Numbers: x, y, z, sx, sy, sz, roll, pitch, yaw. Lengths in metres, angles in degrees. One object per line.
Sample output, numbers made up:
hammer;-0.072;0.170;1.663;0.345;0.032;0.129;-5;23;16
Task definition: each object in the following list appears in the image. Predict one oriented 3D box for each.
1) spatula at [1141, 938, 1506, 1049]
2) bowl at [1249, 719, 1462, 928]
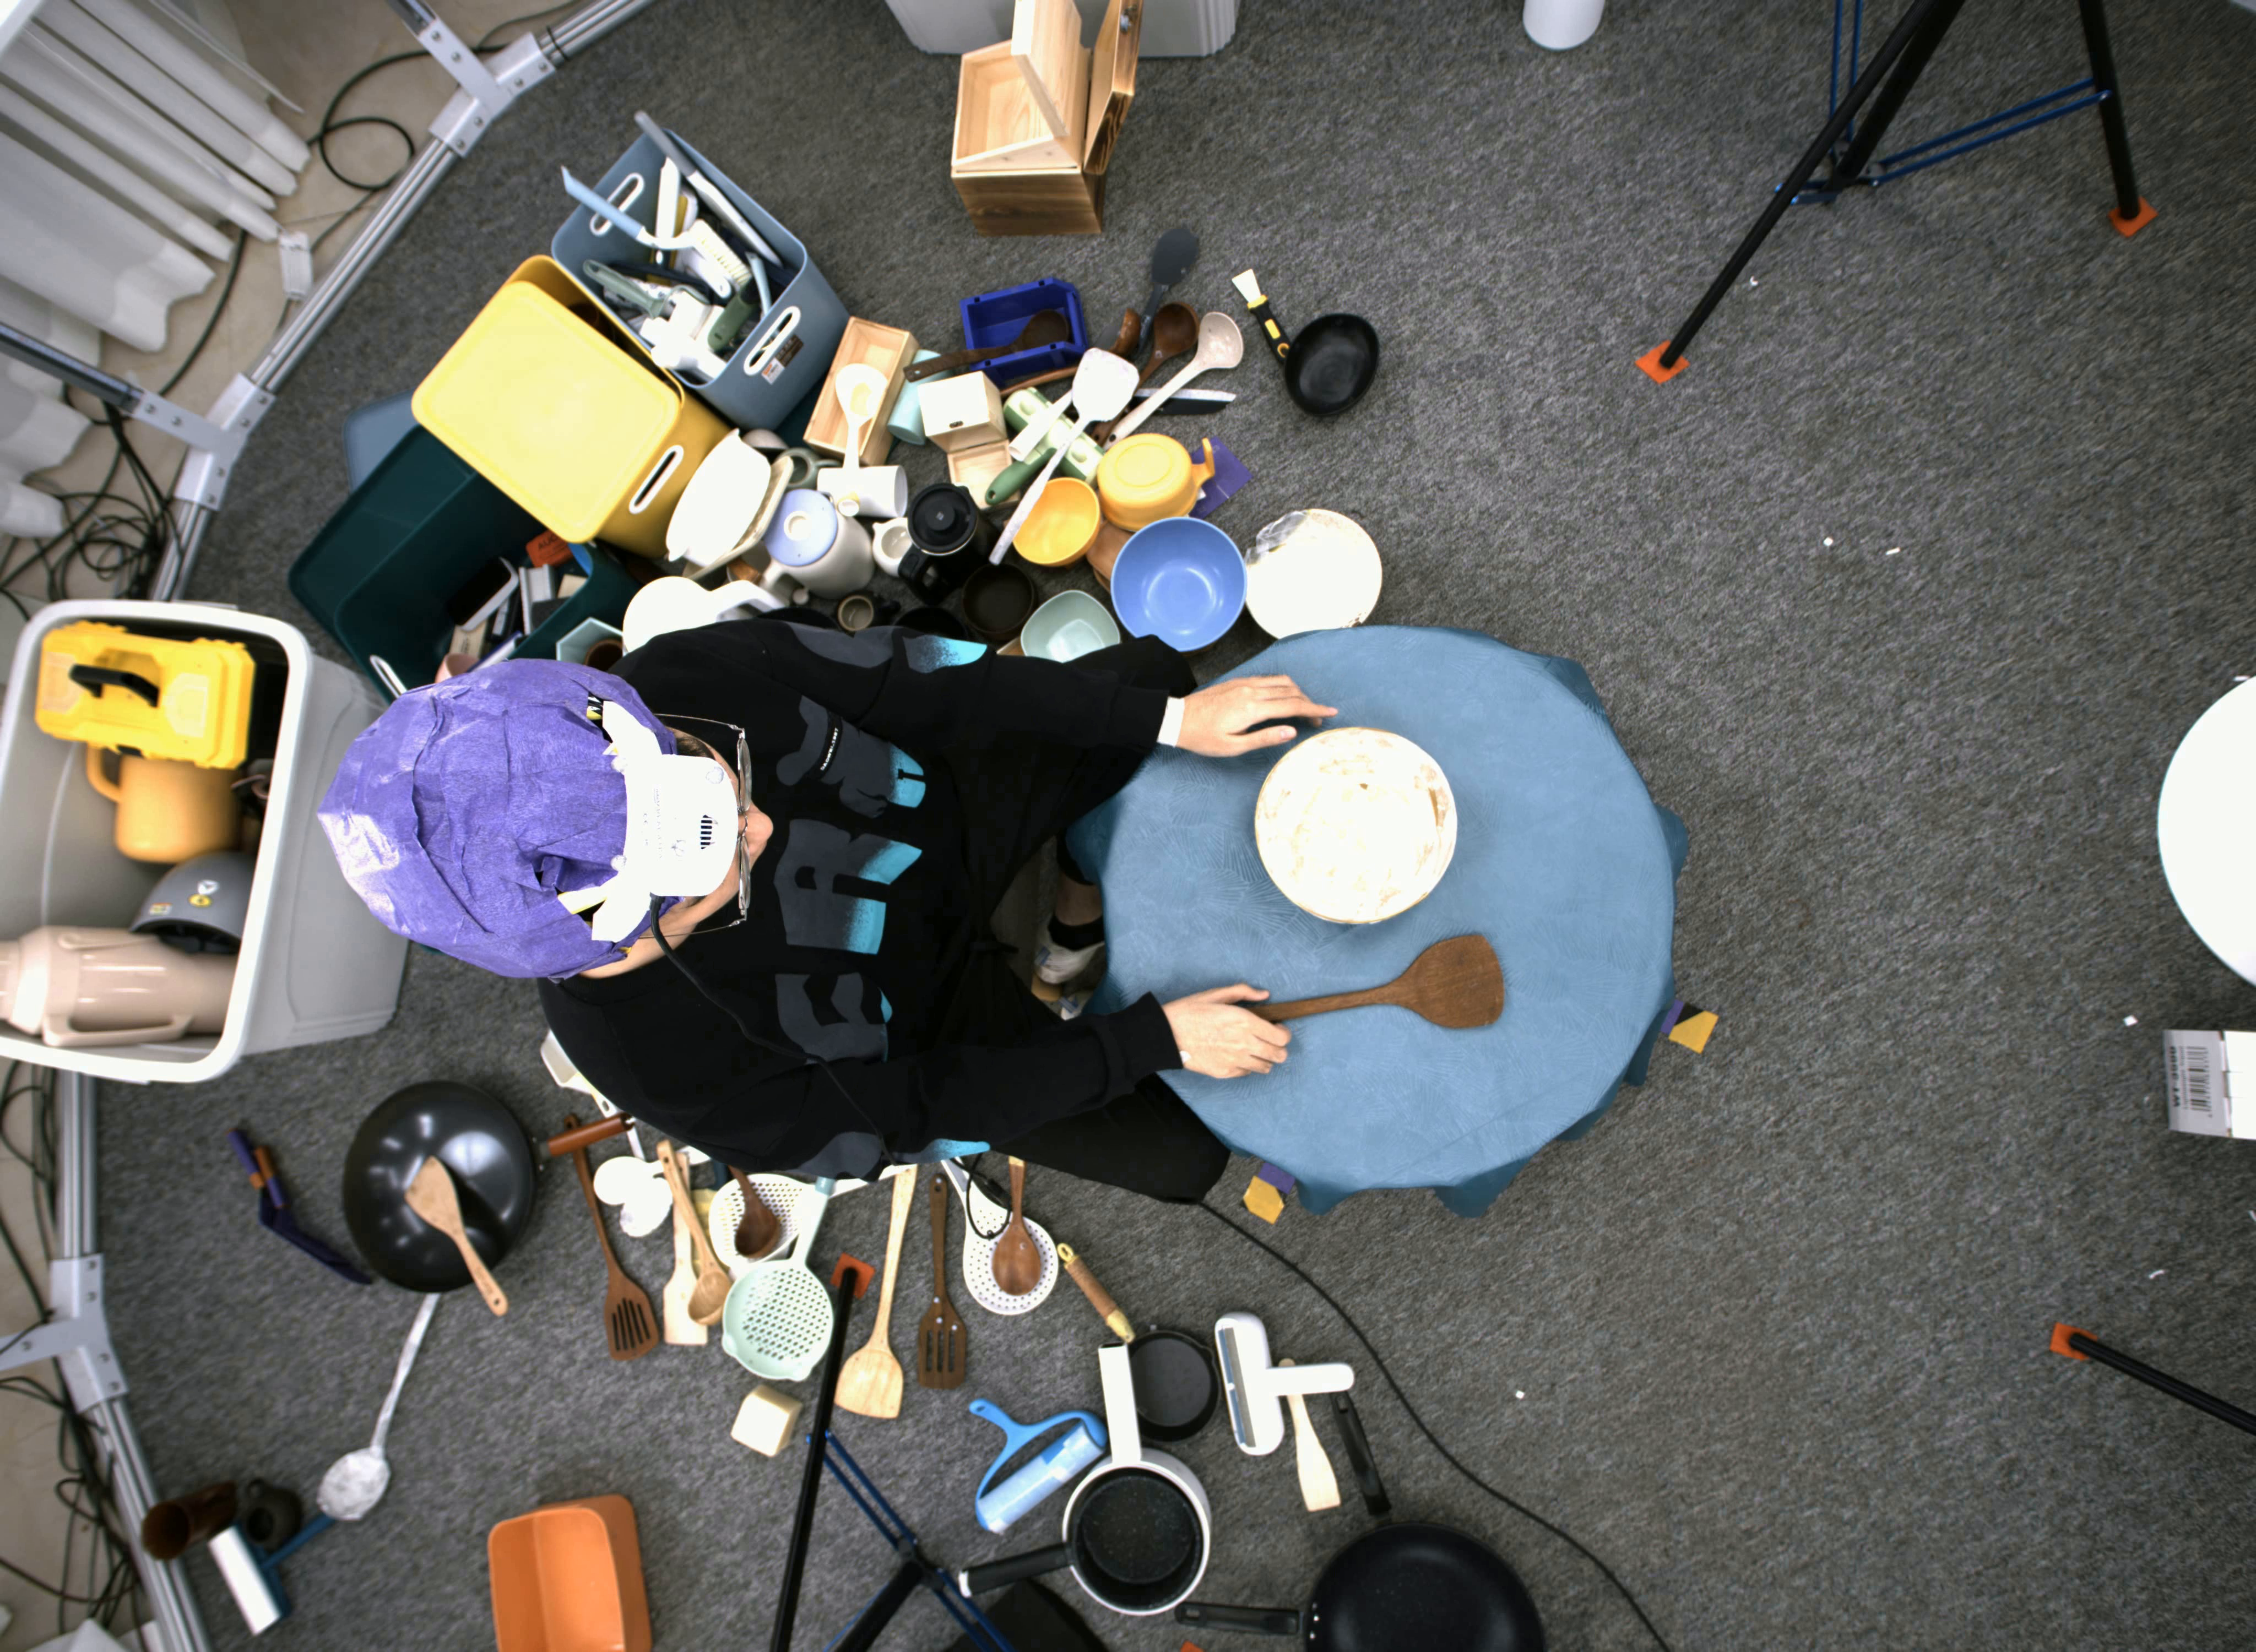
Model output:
spatula;0.202;0.192;1.462;0.388;0.016;0.095;-11;84;10
bowl;0.235;0.002;1.429;0.215;0.094;0.214;-1;87;11
